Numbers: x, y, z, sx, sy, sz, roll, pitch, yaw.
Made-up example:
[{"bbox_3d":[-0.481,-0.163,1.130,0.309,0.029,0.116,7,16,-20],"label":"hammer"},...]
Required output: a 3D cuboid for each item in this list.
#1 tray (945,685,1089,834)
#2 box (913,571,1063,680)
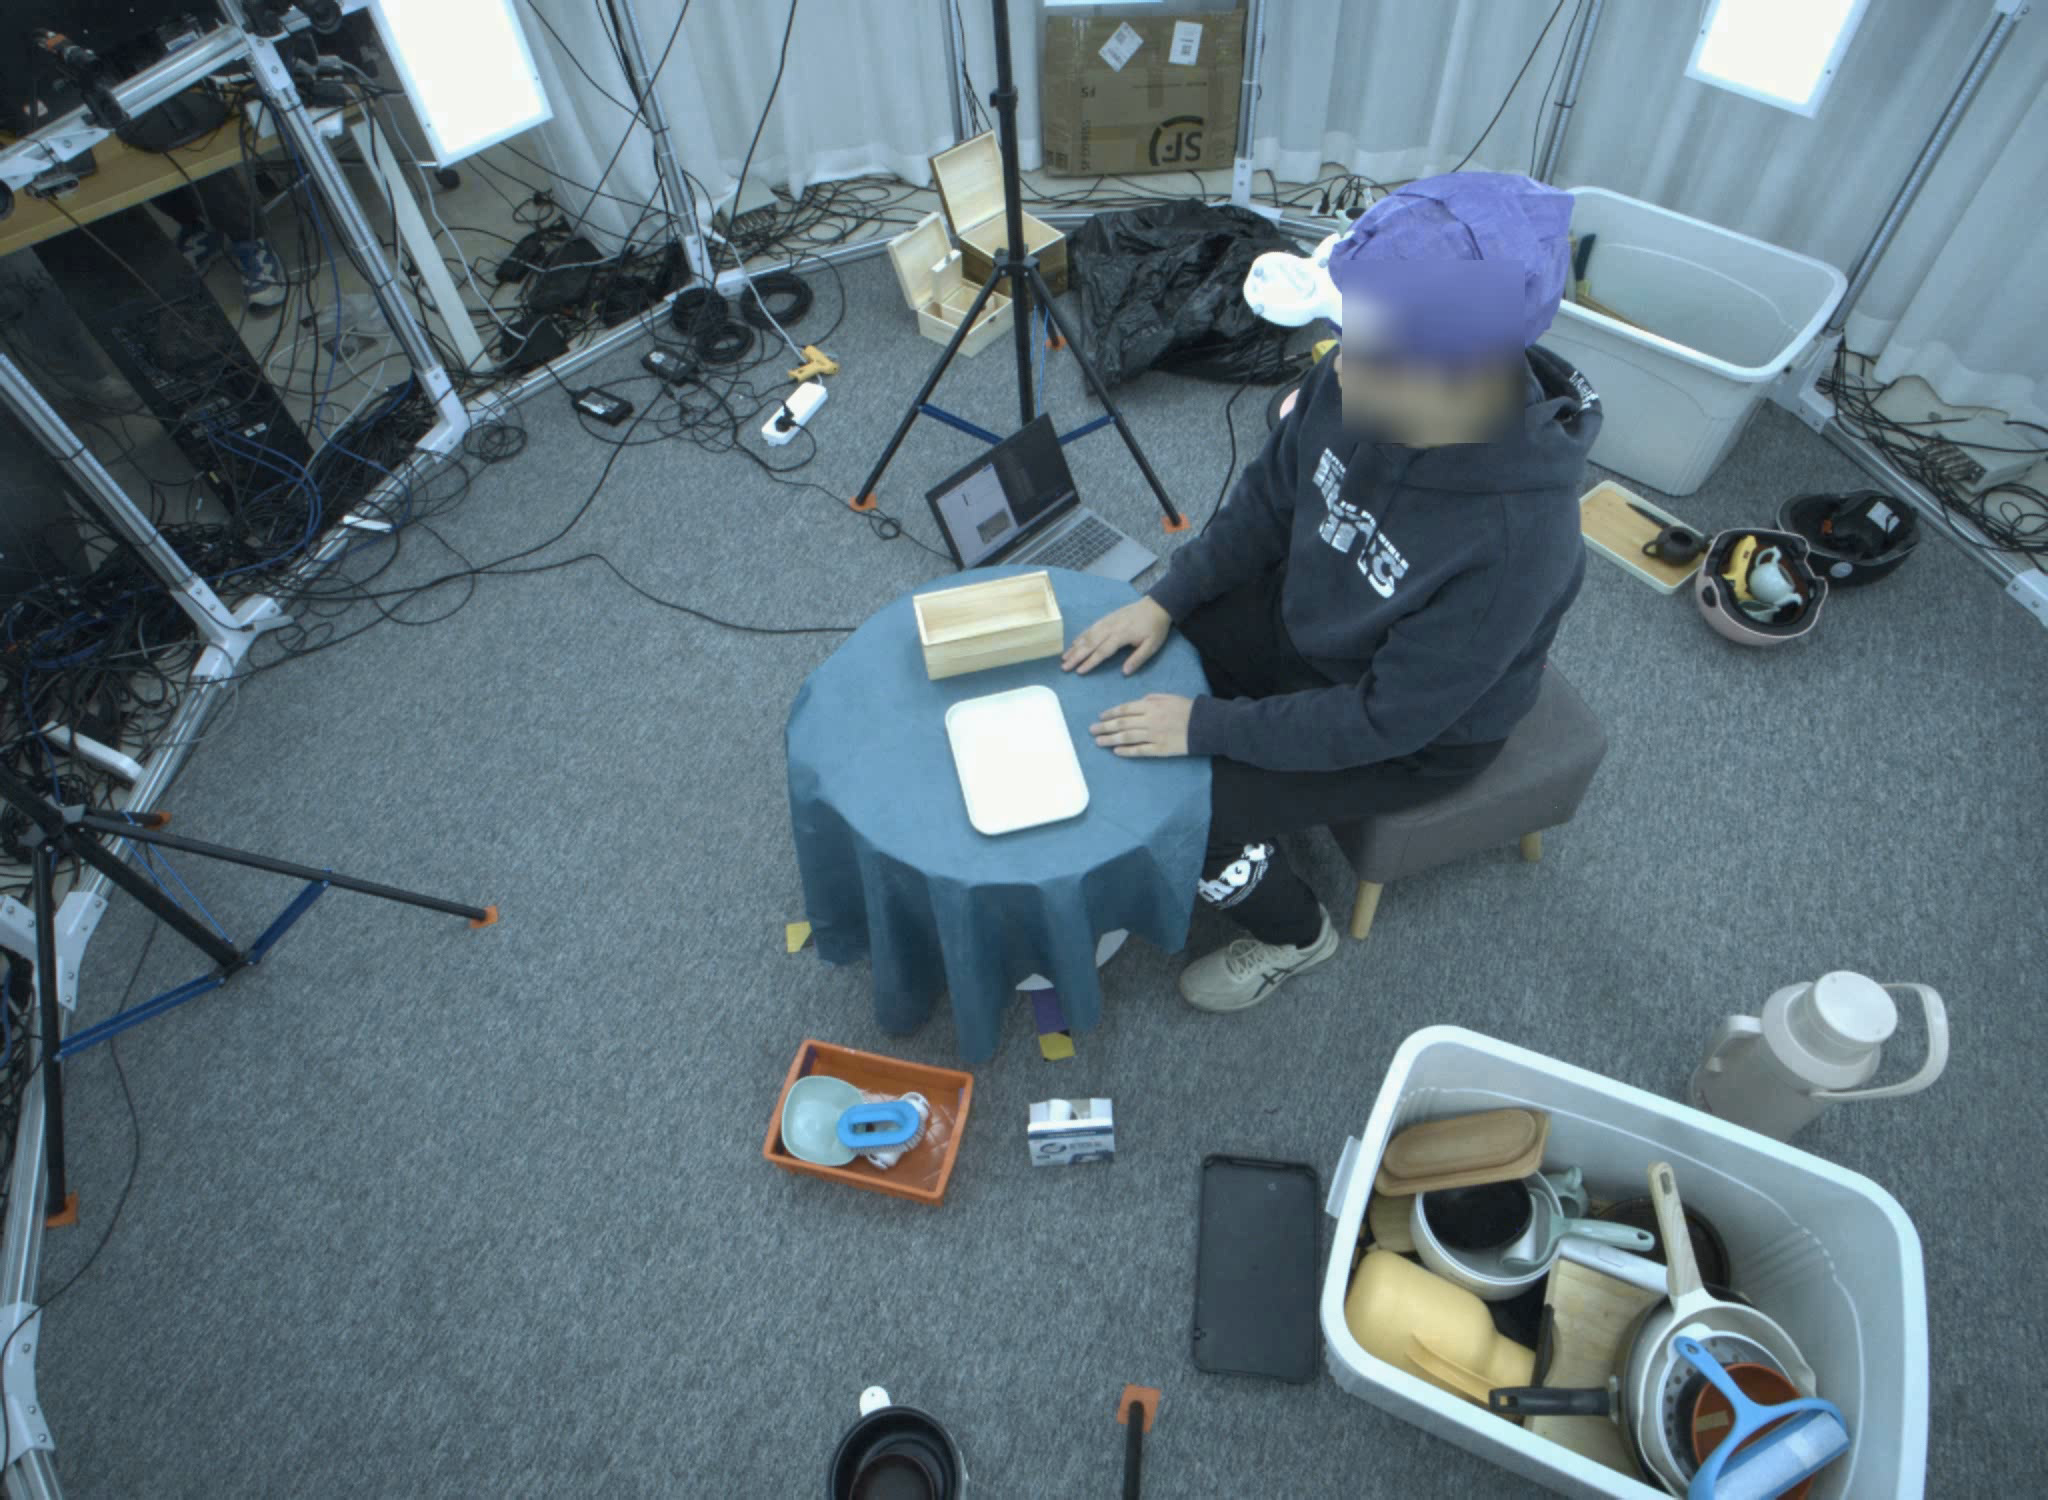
[{"bbox_3d":[-0.012,0.013,1.769,0.172,0.017,0.236,-12,55,-8],"label":"tray"},{"bbox_3d":[-0.055,-0.191,1.875,0.212,0.081,0.106,-12,56,-7],"label":"box"}]
